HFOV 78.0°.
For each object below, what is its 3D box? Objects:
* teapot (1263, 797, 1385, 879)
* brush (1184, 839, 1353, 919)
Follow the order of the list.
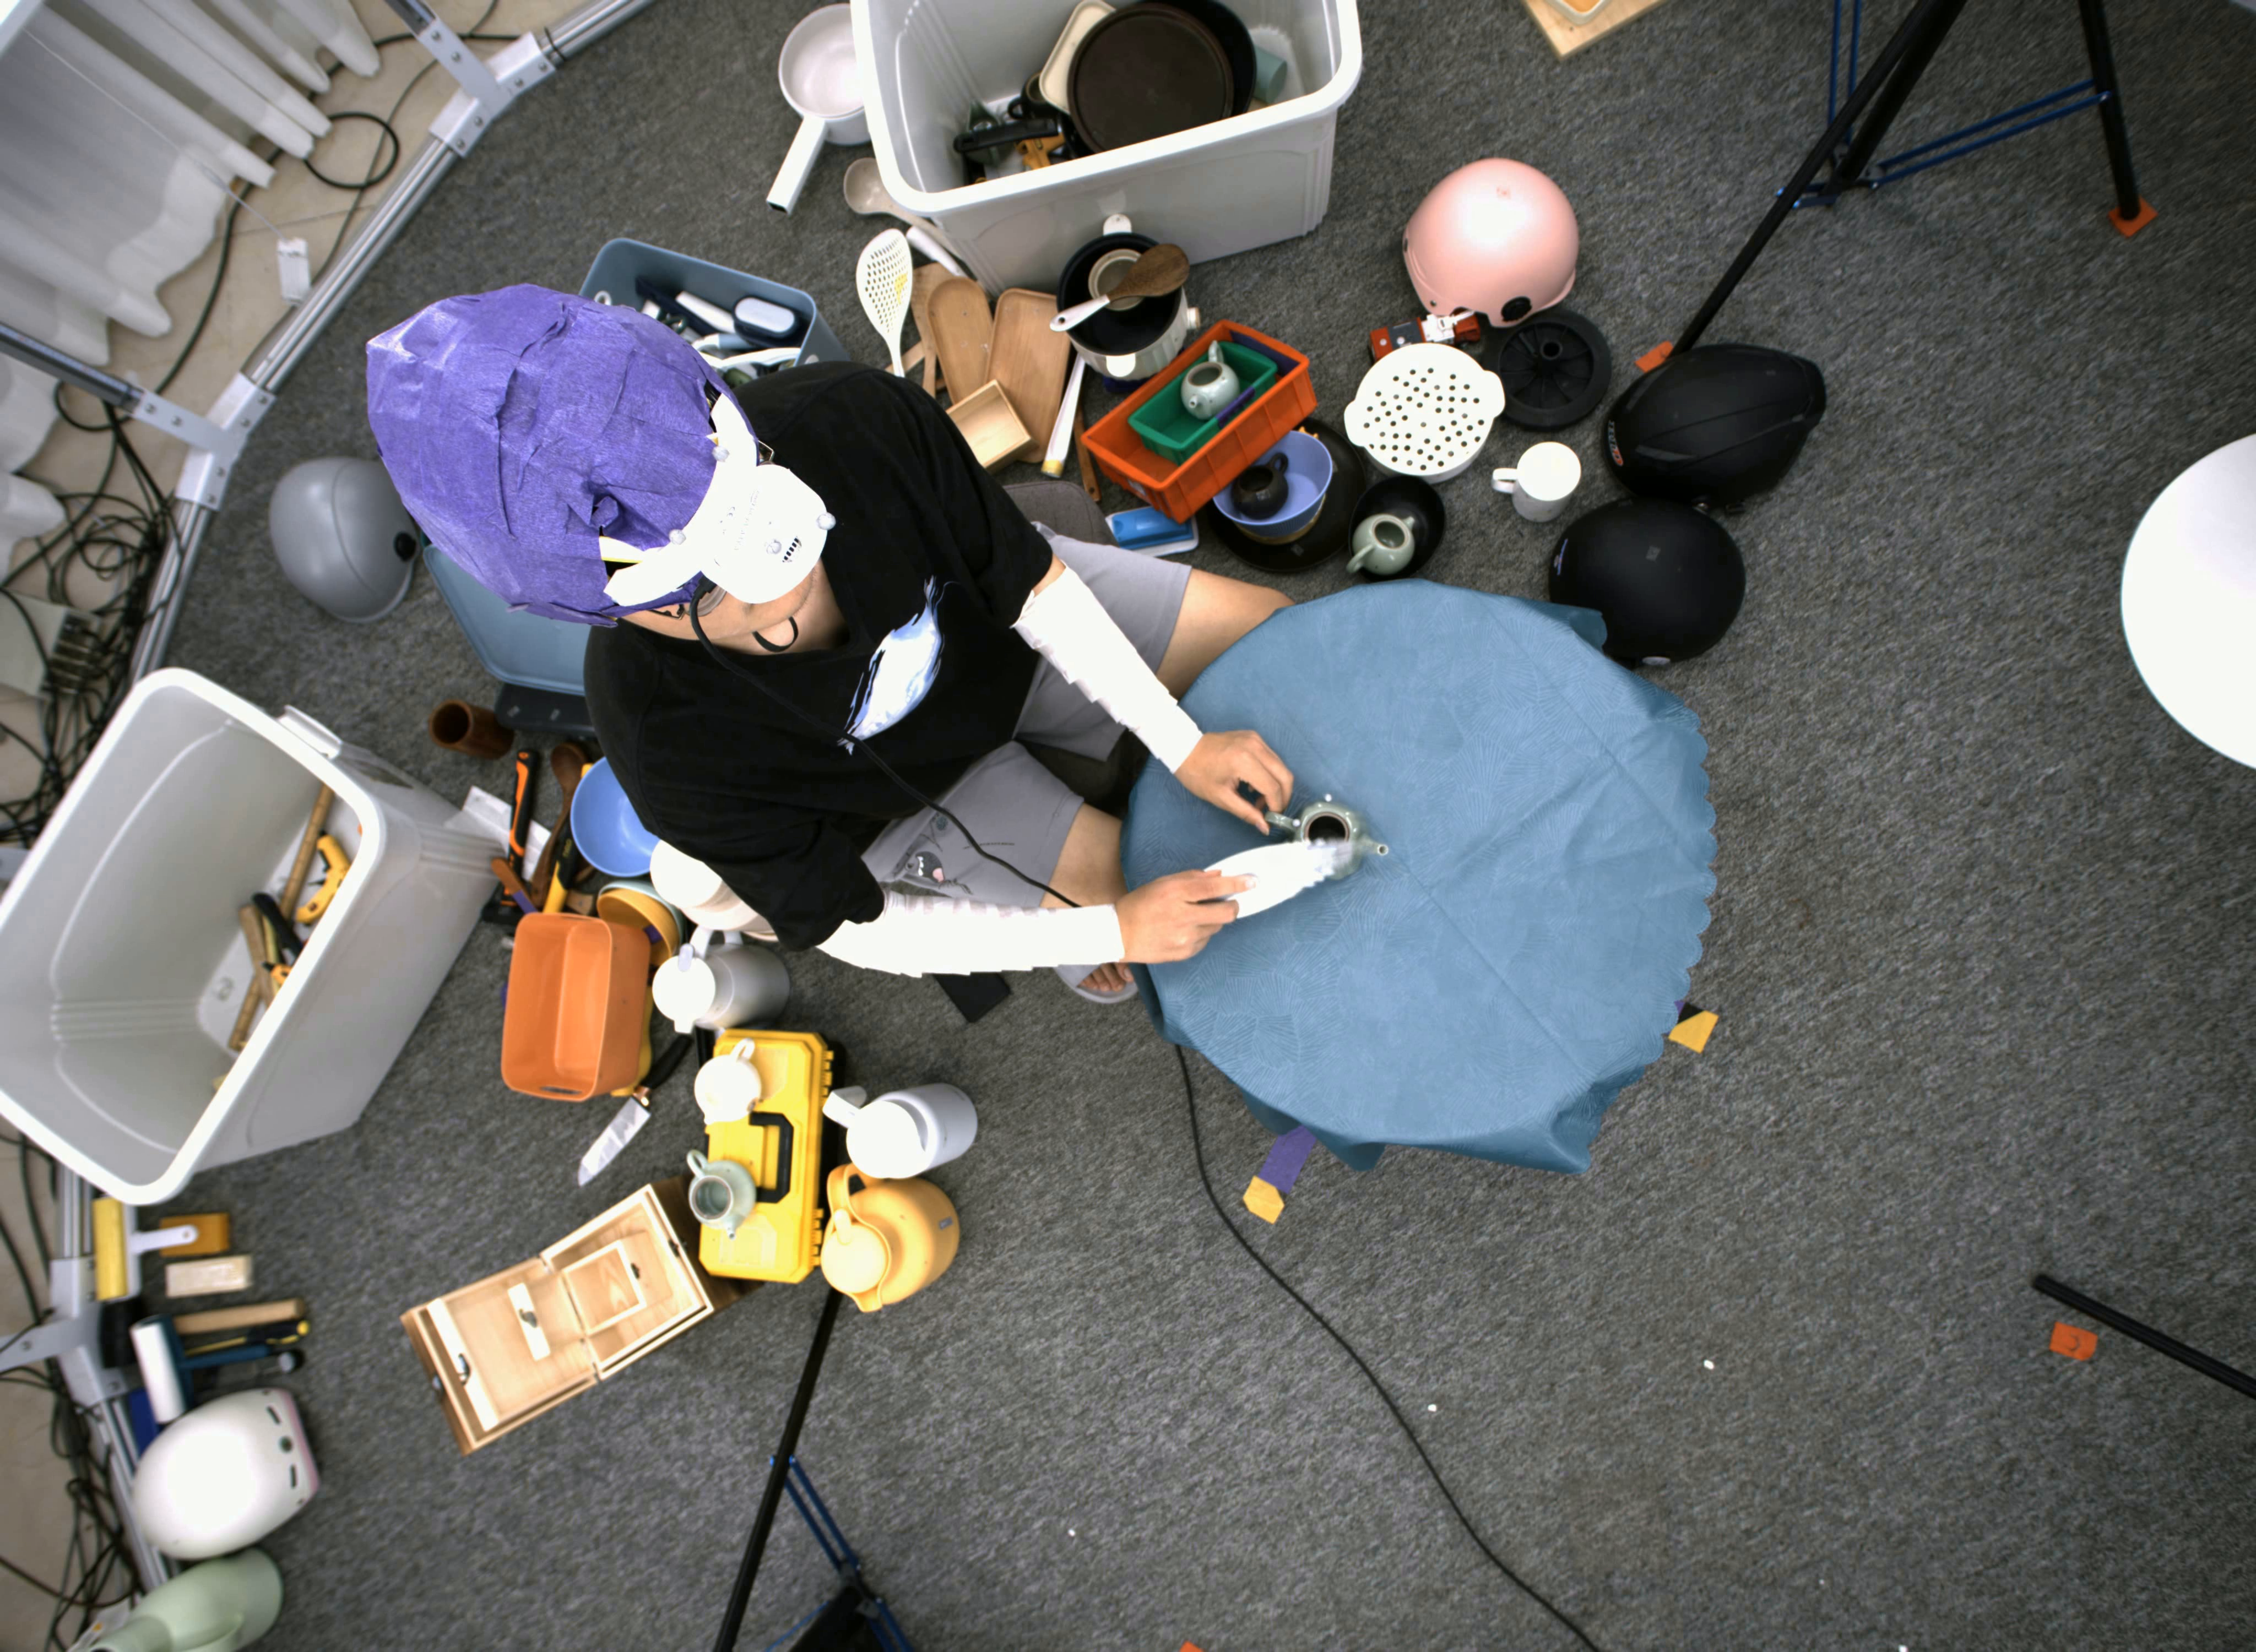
[{"bbox_3d":[0.205,0.008,1.437,0.132,0.075,0.079,21,87,13],"label":"teapot"},{"bbox_3d":[0.134,0.051,1.391,0.178,0.093,0.061,-20,90,34],"label":"brush"}]
